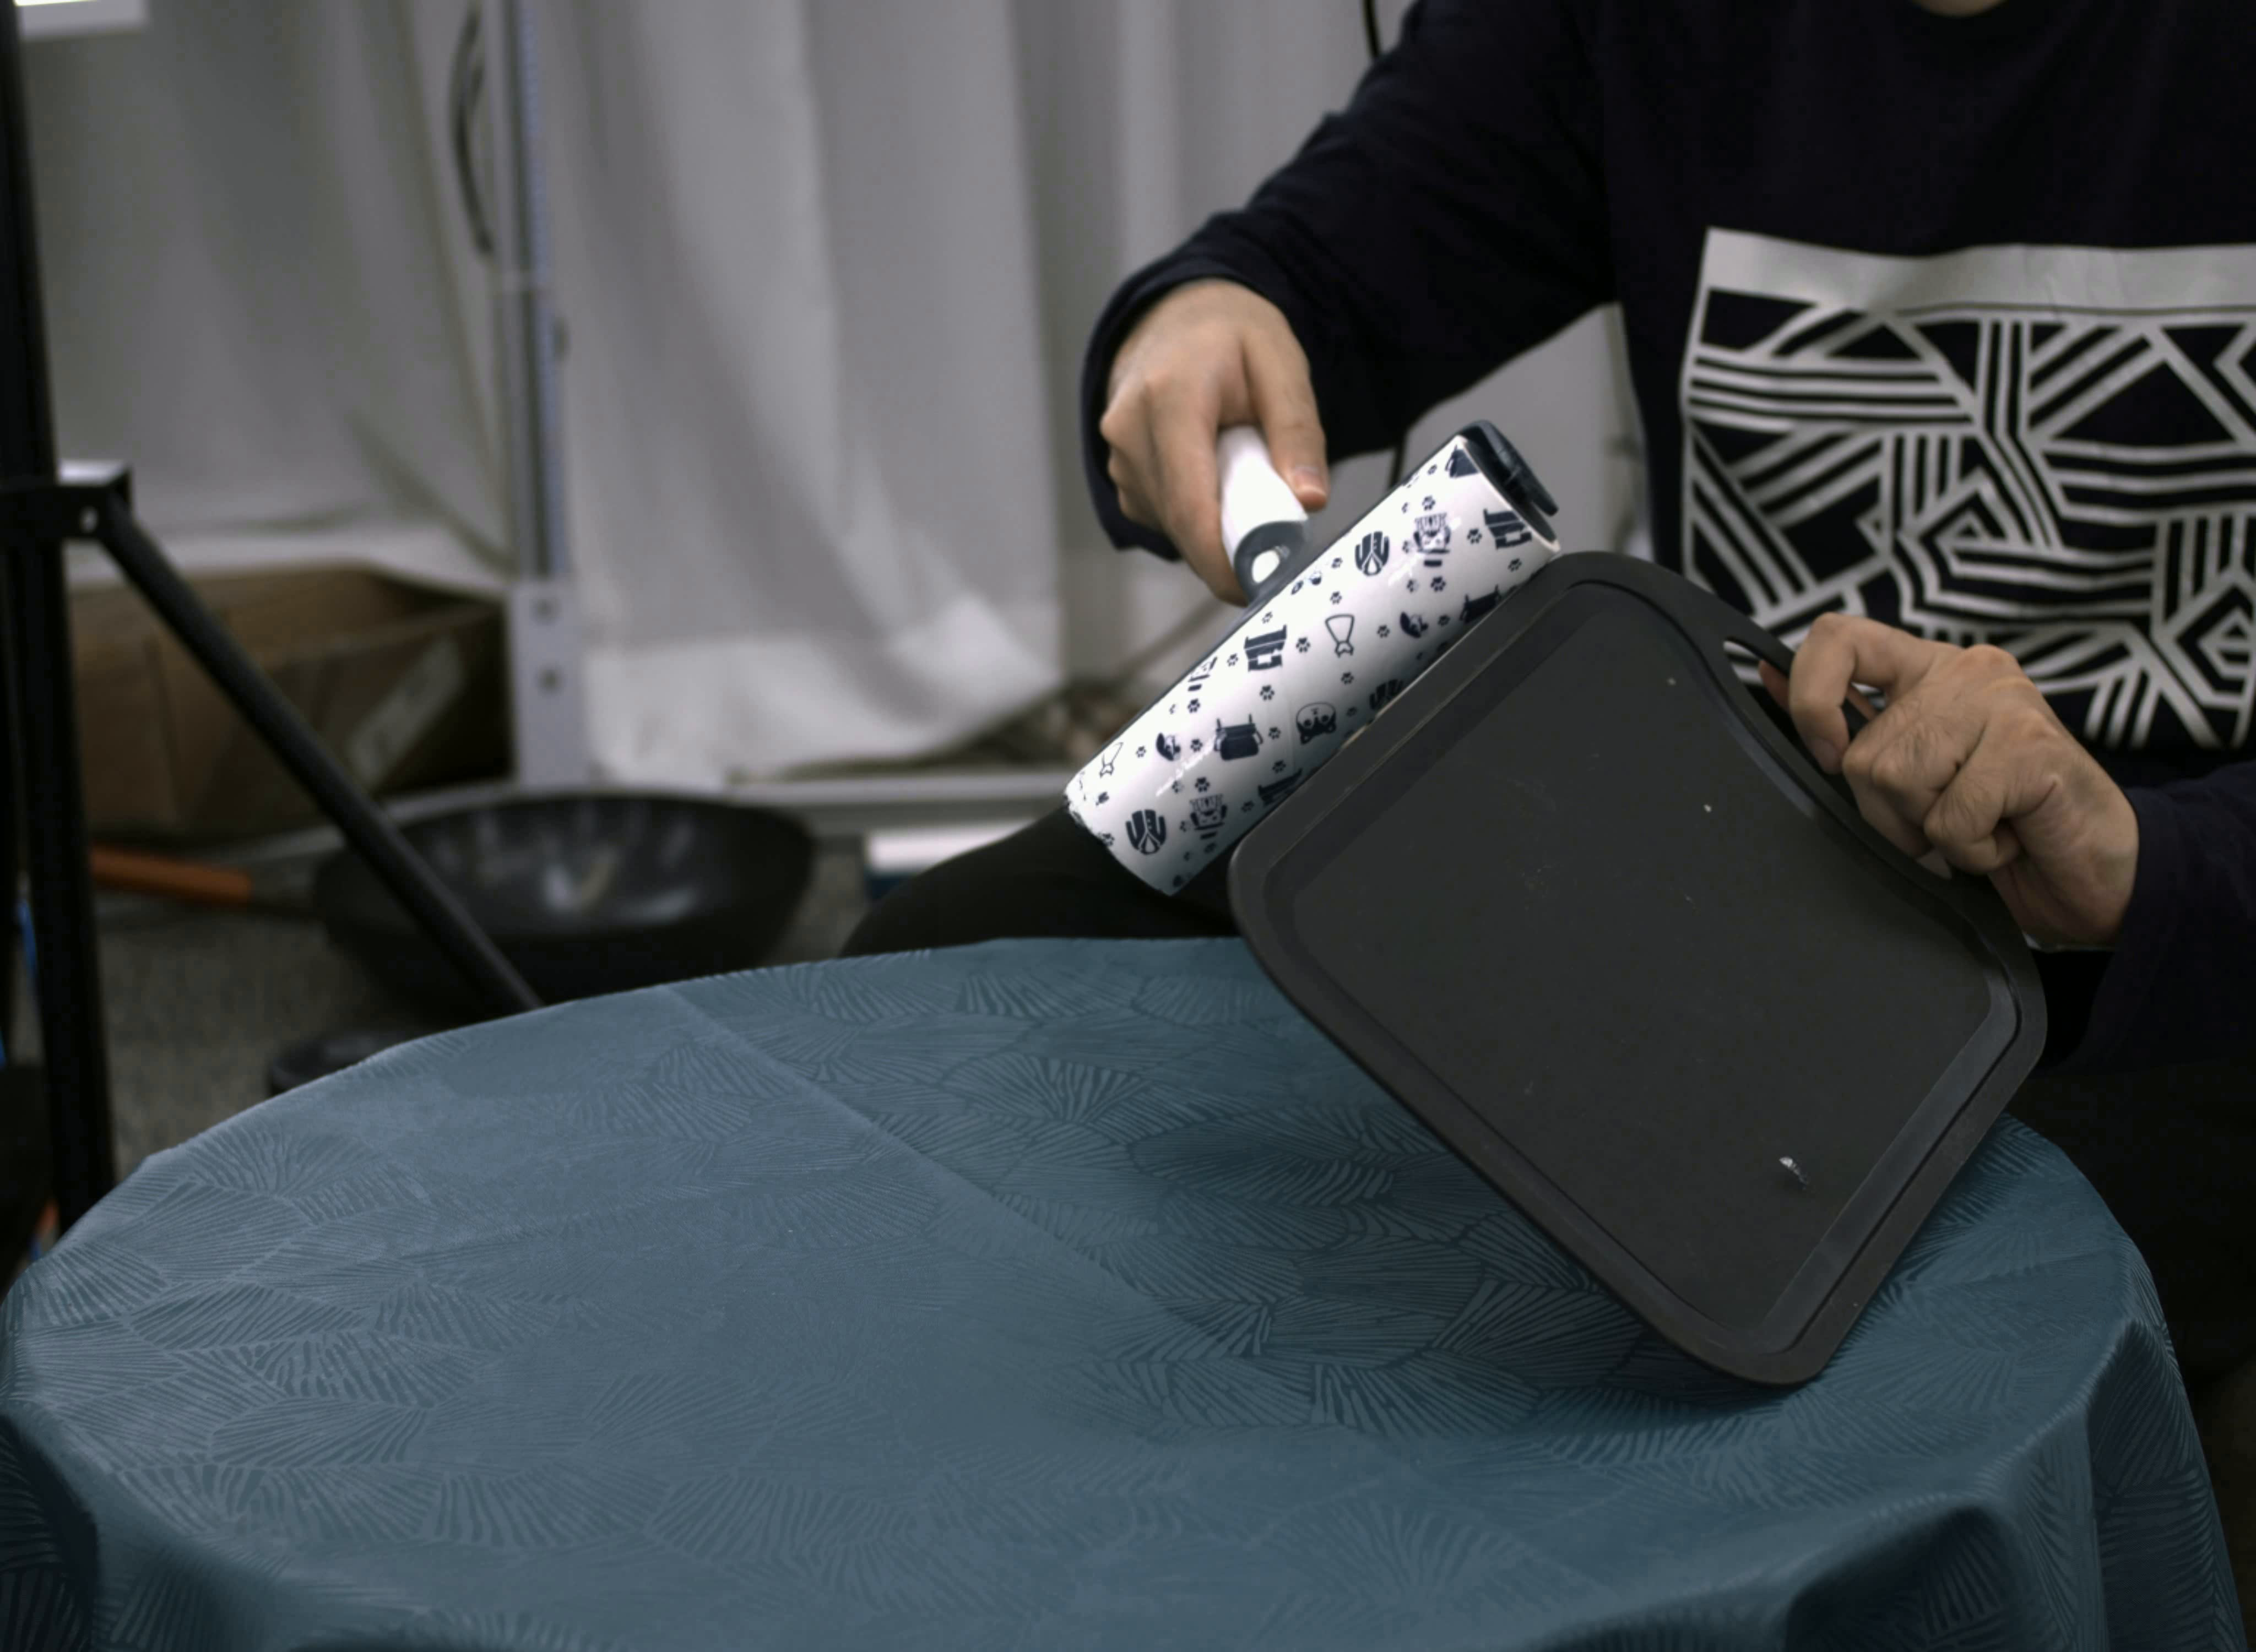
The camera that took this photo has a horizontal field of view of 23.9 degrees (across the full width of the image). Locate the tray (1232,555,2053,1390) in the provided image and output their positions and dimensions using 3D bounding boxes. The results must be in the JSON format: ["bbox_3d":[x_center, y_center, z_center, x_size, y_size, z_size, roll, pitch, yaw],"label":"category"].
[{"bbox_3d":[0.157,0.029,1.508,0.212,0.010,0.321,43,35,6],"label":"tray"}]

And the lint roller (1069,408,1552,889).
[{"bbox_3d":[0.044,-0.086,1.691,0.177,0.049,0.249,-43,20,11],"label":"lint roller"}]
